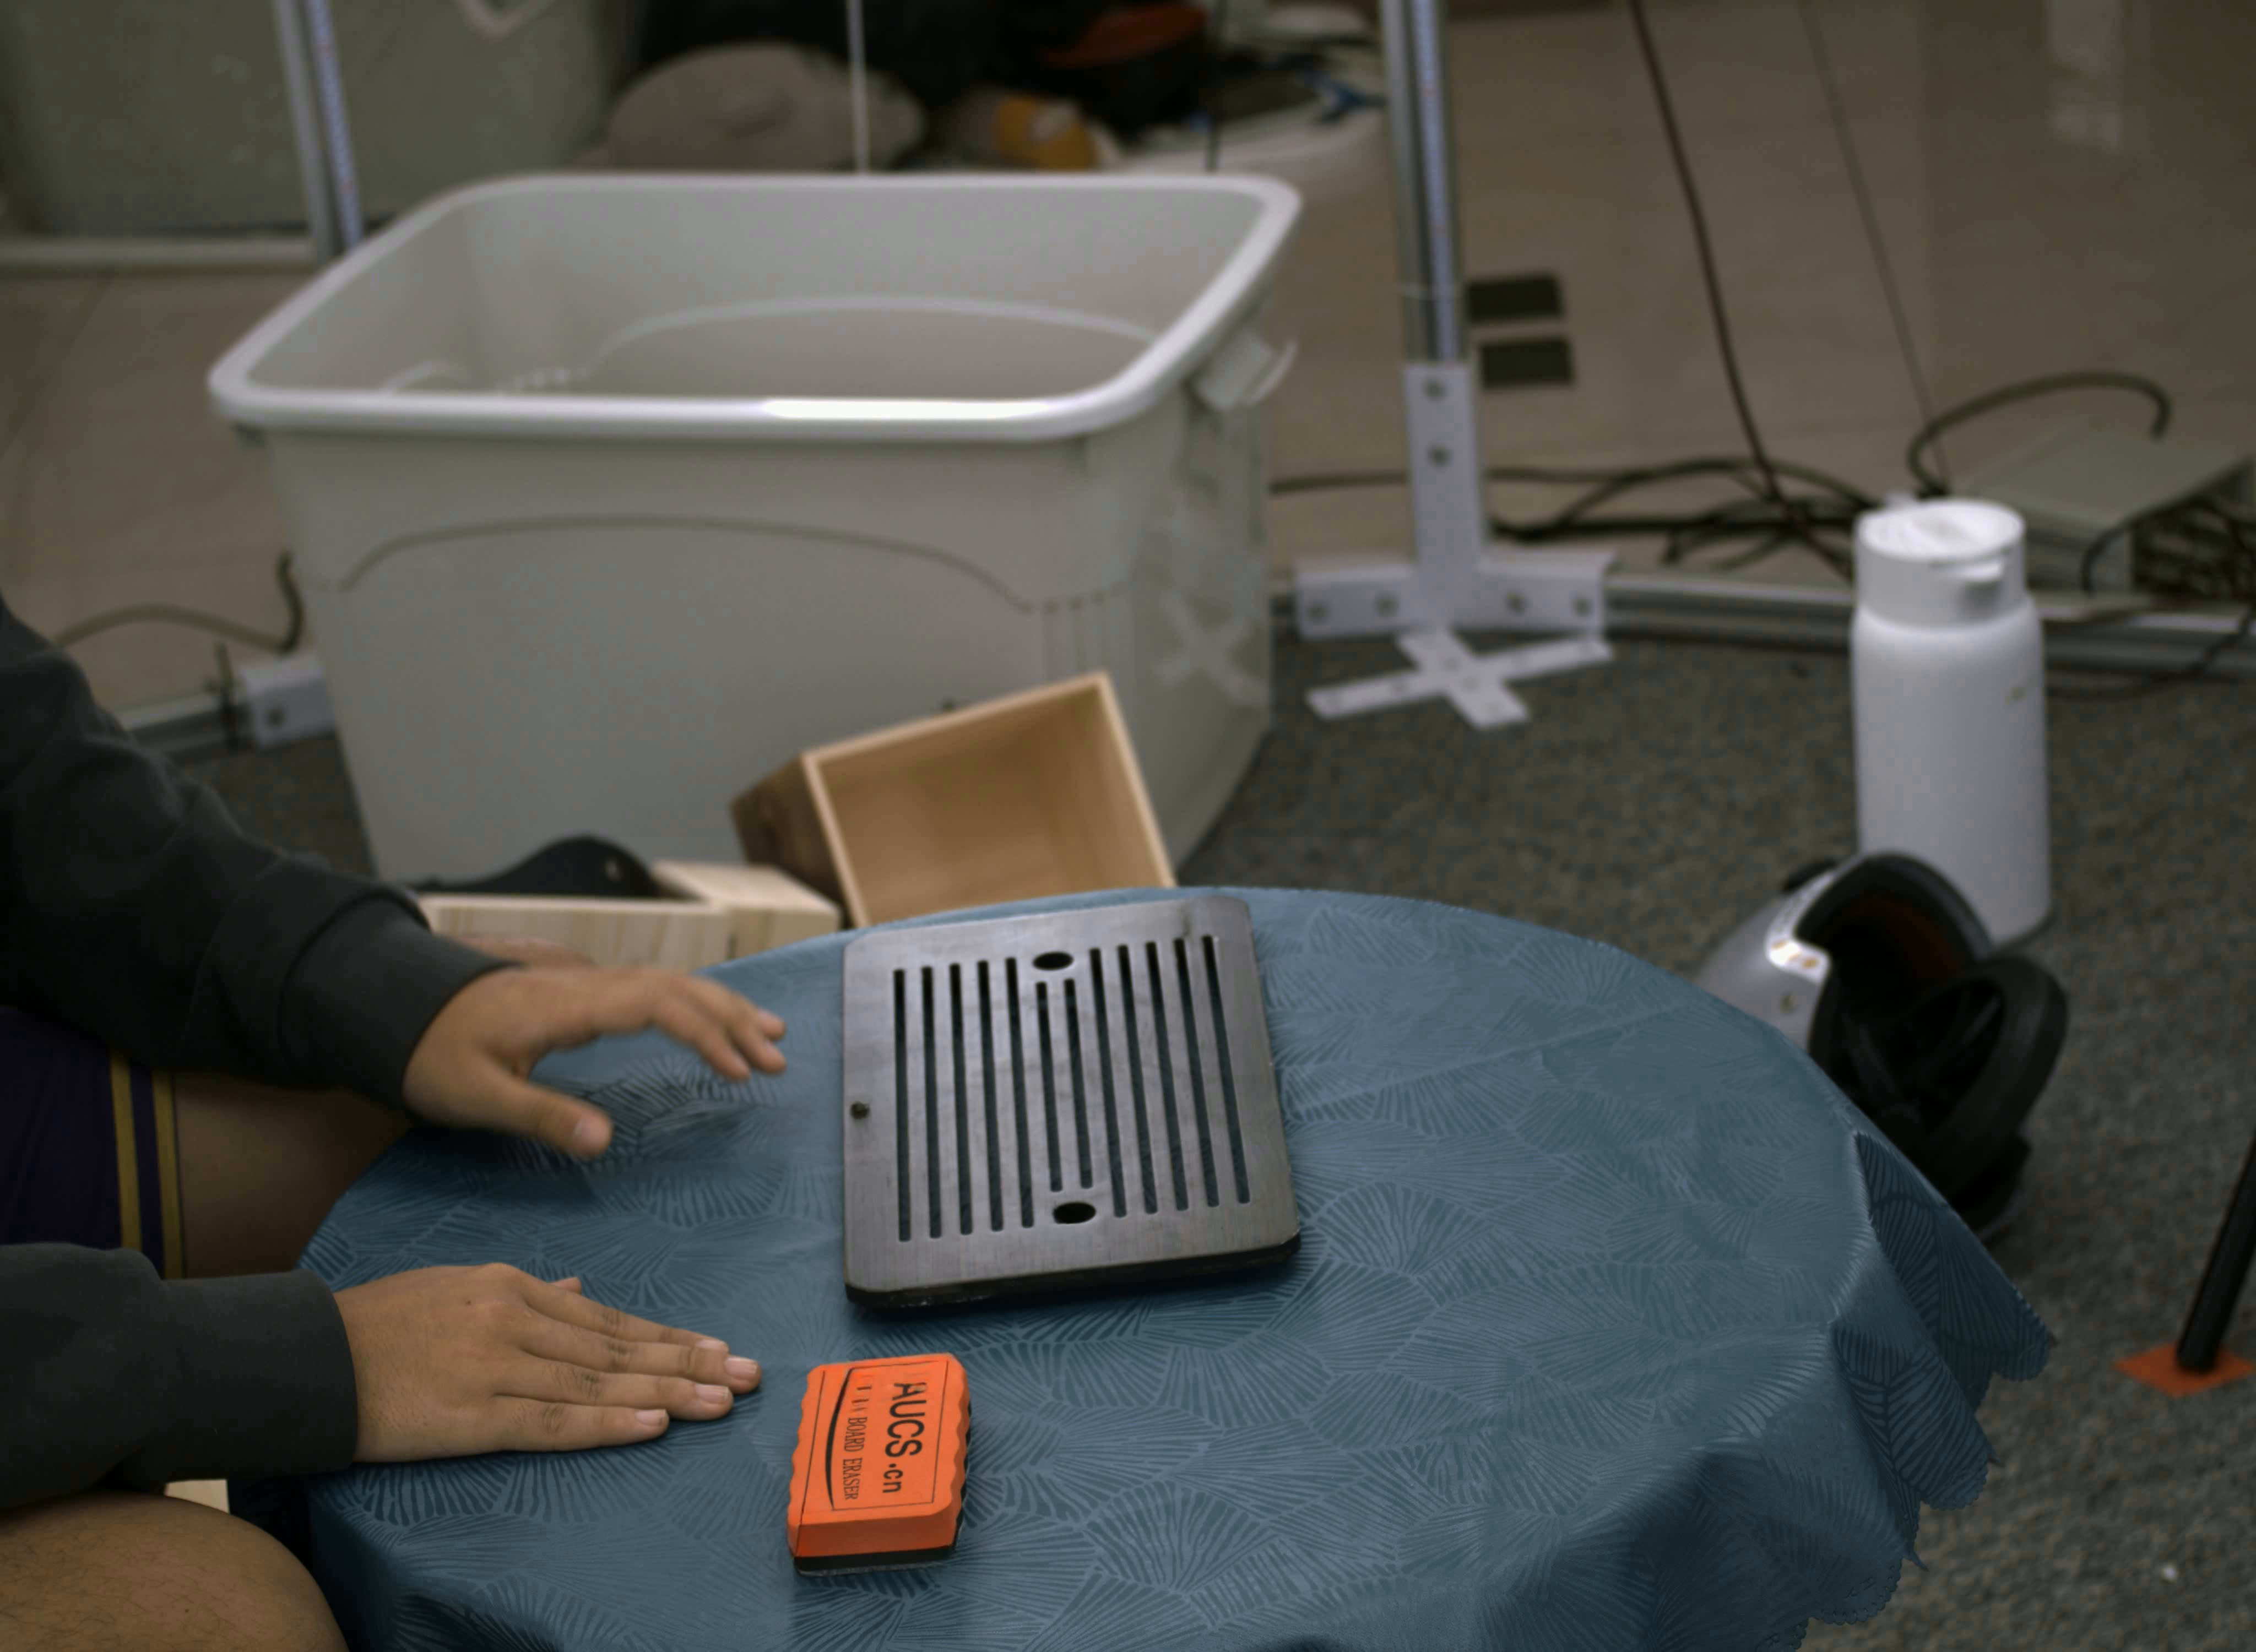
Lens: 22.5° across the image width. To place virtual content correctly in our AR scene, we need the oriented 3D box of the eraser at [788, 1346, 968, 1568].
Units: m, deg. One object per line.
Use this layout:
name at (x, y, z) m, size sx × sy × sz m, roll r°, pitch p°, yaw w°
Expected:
eraser at (-0.086, 0.217, 1.964) m, size 0.059 × 0.023 × 0.106 m, roll -5°, pitch 26°, yaw 4°

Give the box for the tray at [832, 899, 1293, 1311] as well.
tray at (-0.030, 0.107, 2.203) m, size 0.170 × 0.019 × 0.301 m, roll -6°, pitch 25°, yaw 0°
